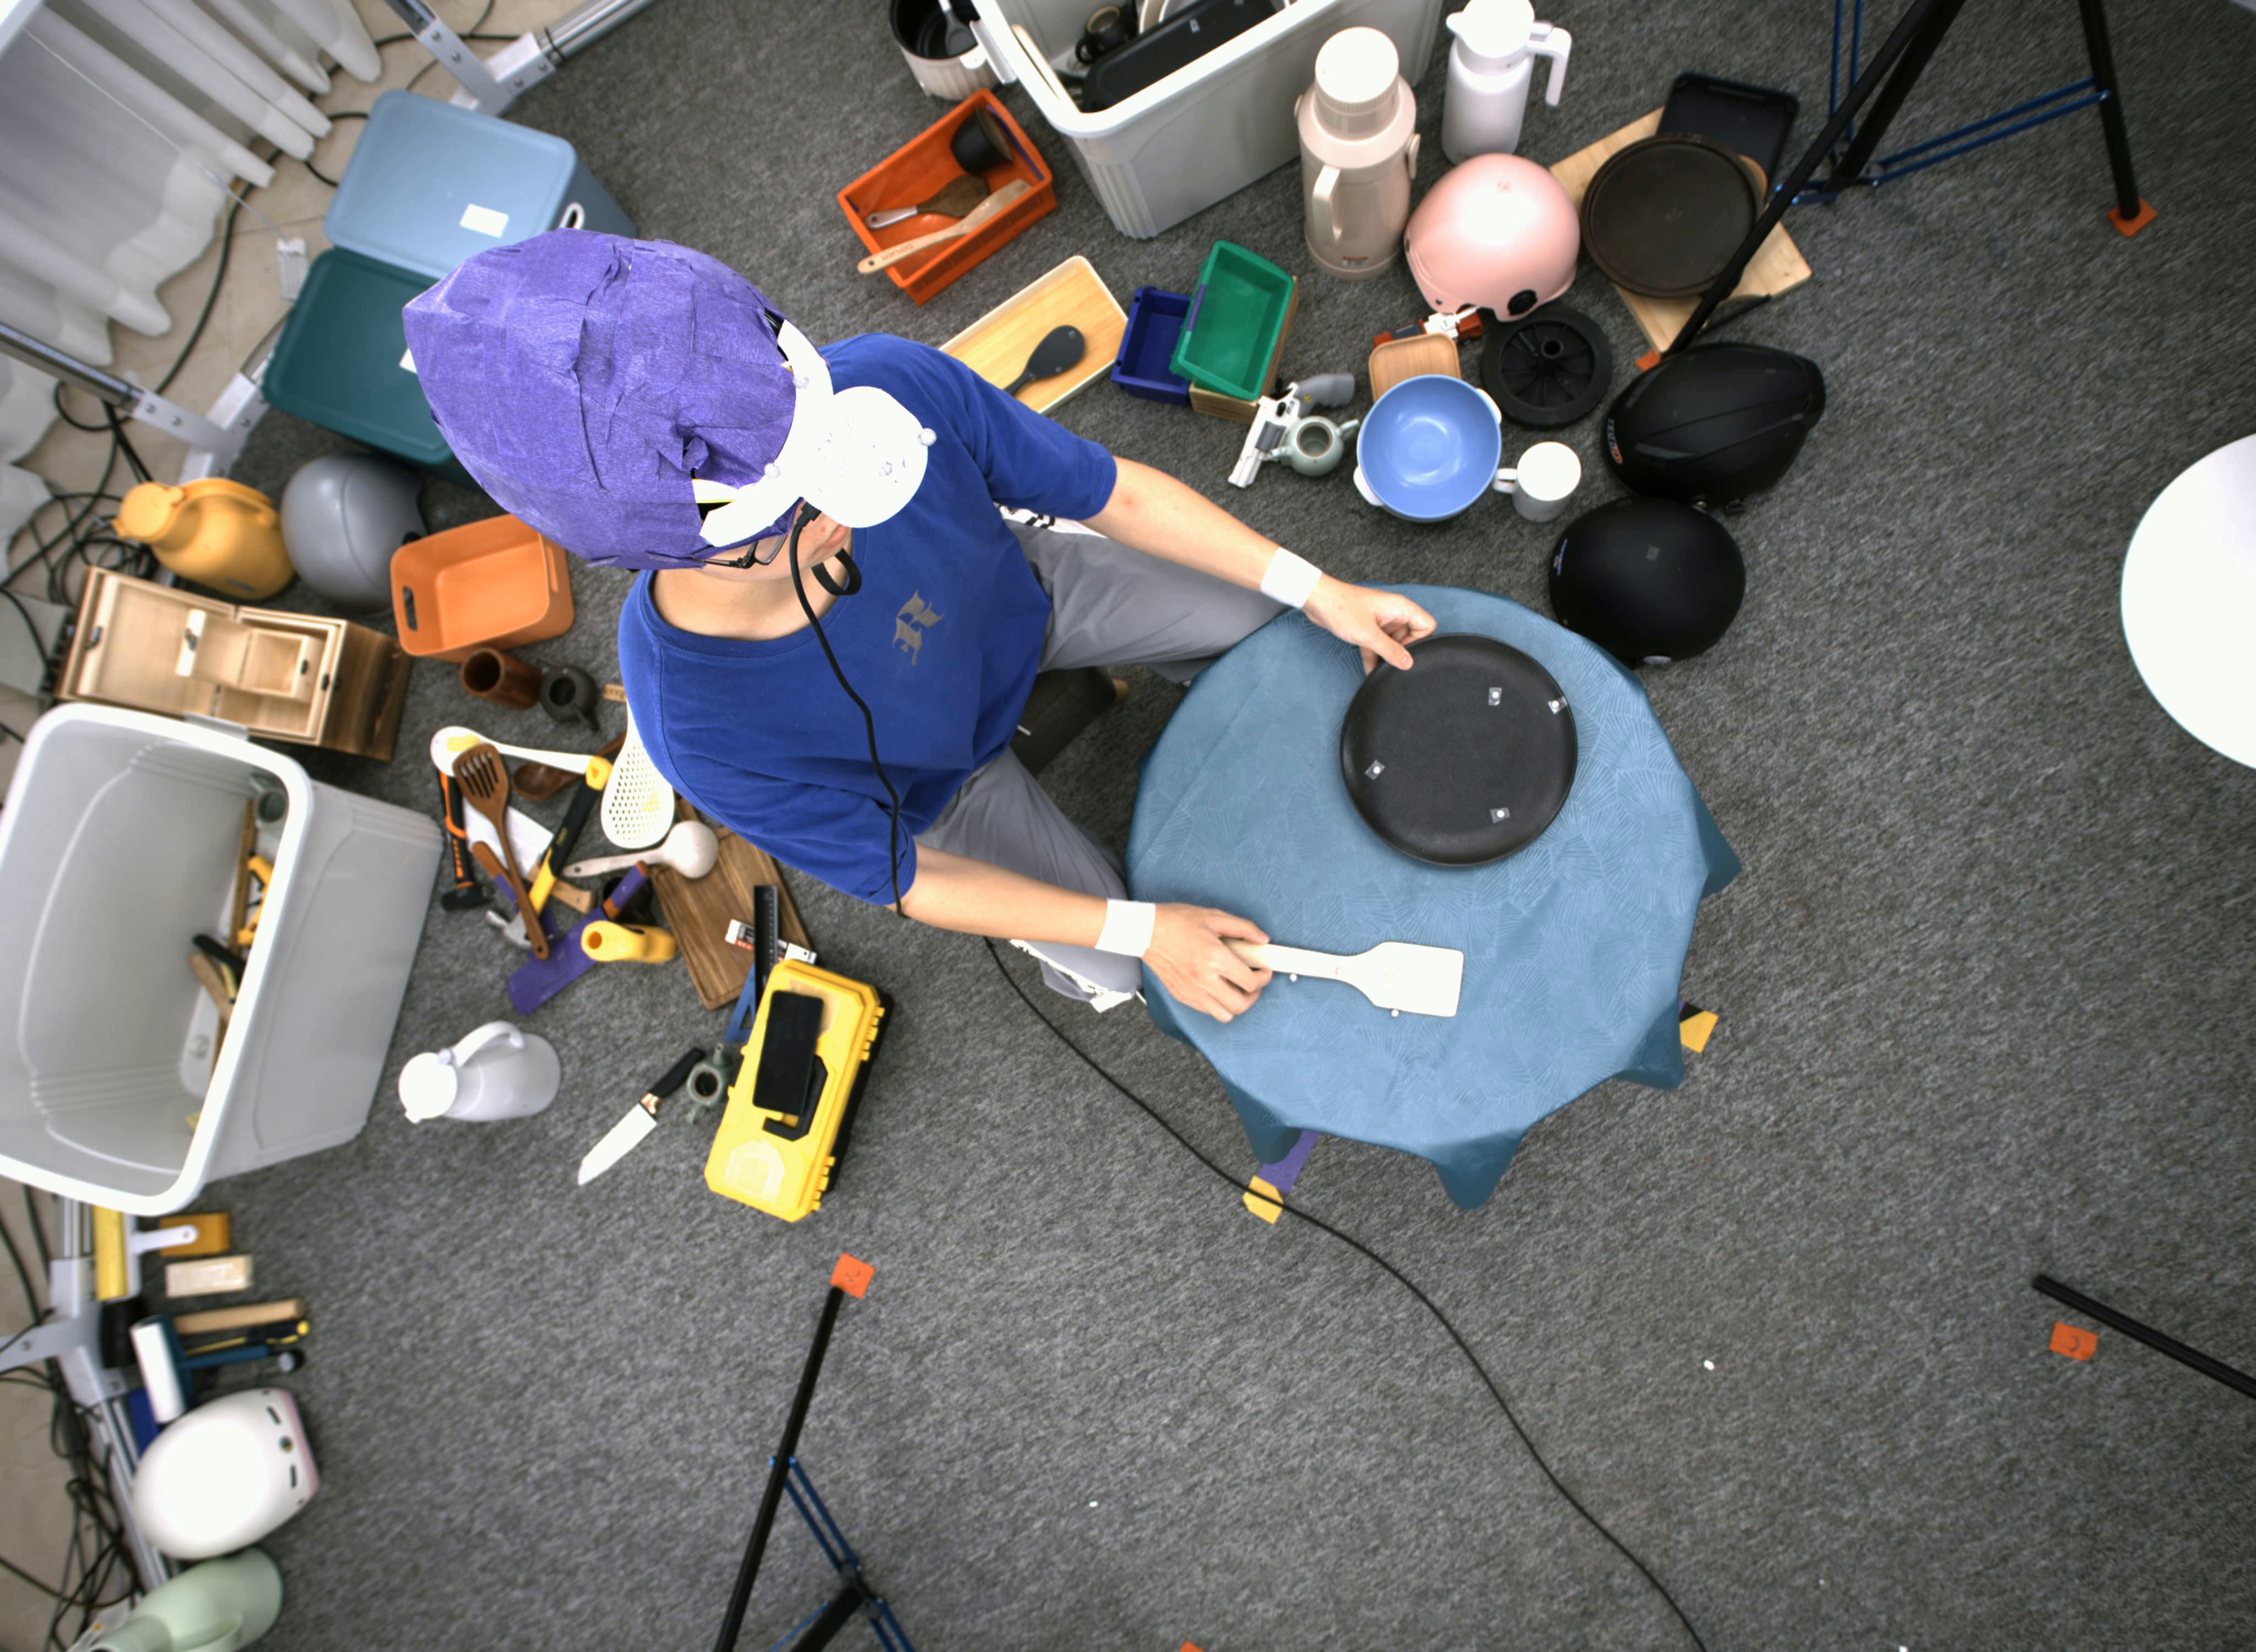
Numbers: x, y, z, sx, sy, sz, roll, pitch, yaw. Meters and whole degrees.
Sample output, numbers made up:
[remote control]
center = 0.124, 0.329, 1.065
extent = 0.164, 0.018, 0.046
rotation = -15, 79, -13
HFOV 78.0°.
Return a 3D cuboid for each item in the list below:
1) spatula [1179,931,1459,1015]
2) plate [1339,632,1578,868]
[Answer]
[spatula]
center = 0.198, 0.144, 1.456
extent = 0.293, 0.010, 0.072
rotation = 7, 89, 7
[plate]
center = 0.342, -0.080, 1.426
extent = 0.245, 0.023, 0.245
rotation = 1, 96, 8
